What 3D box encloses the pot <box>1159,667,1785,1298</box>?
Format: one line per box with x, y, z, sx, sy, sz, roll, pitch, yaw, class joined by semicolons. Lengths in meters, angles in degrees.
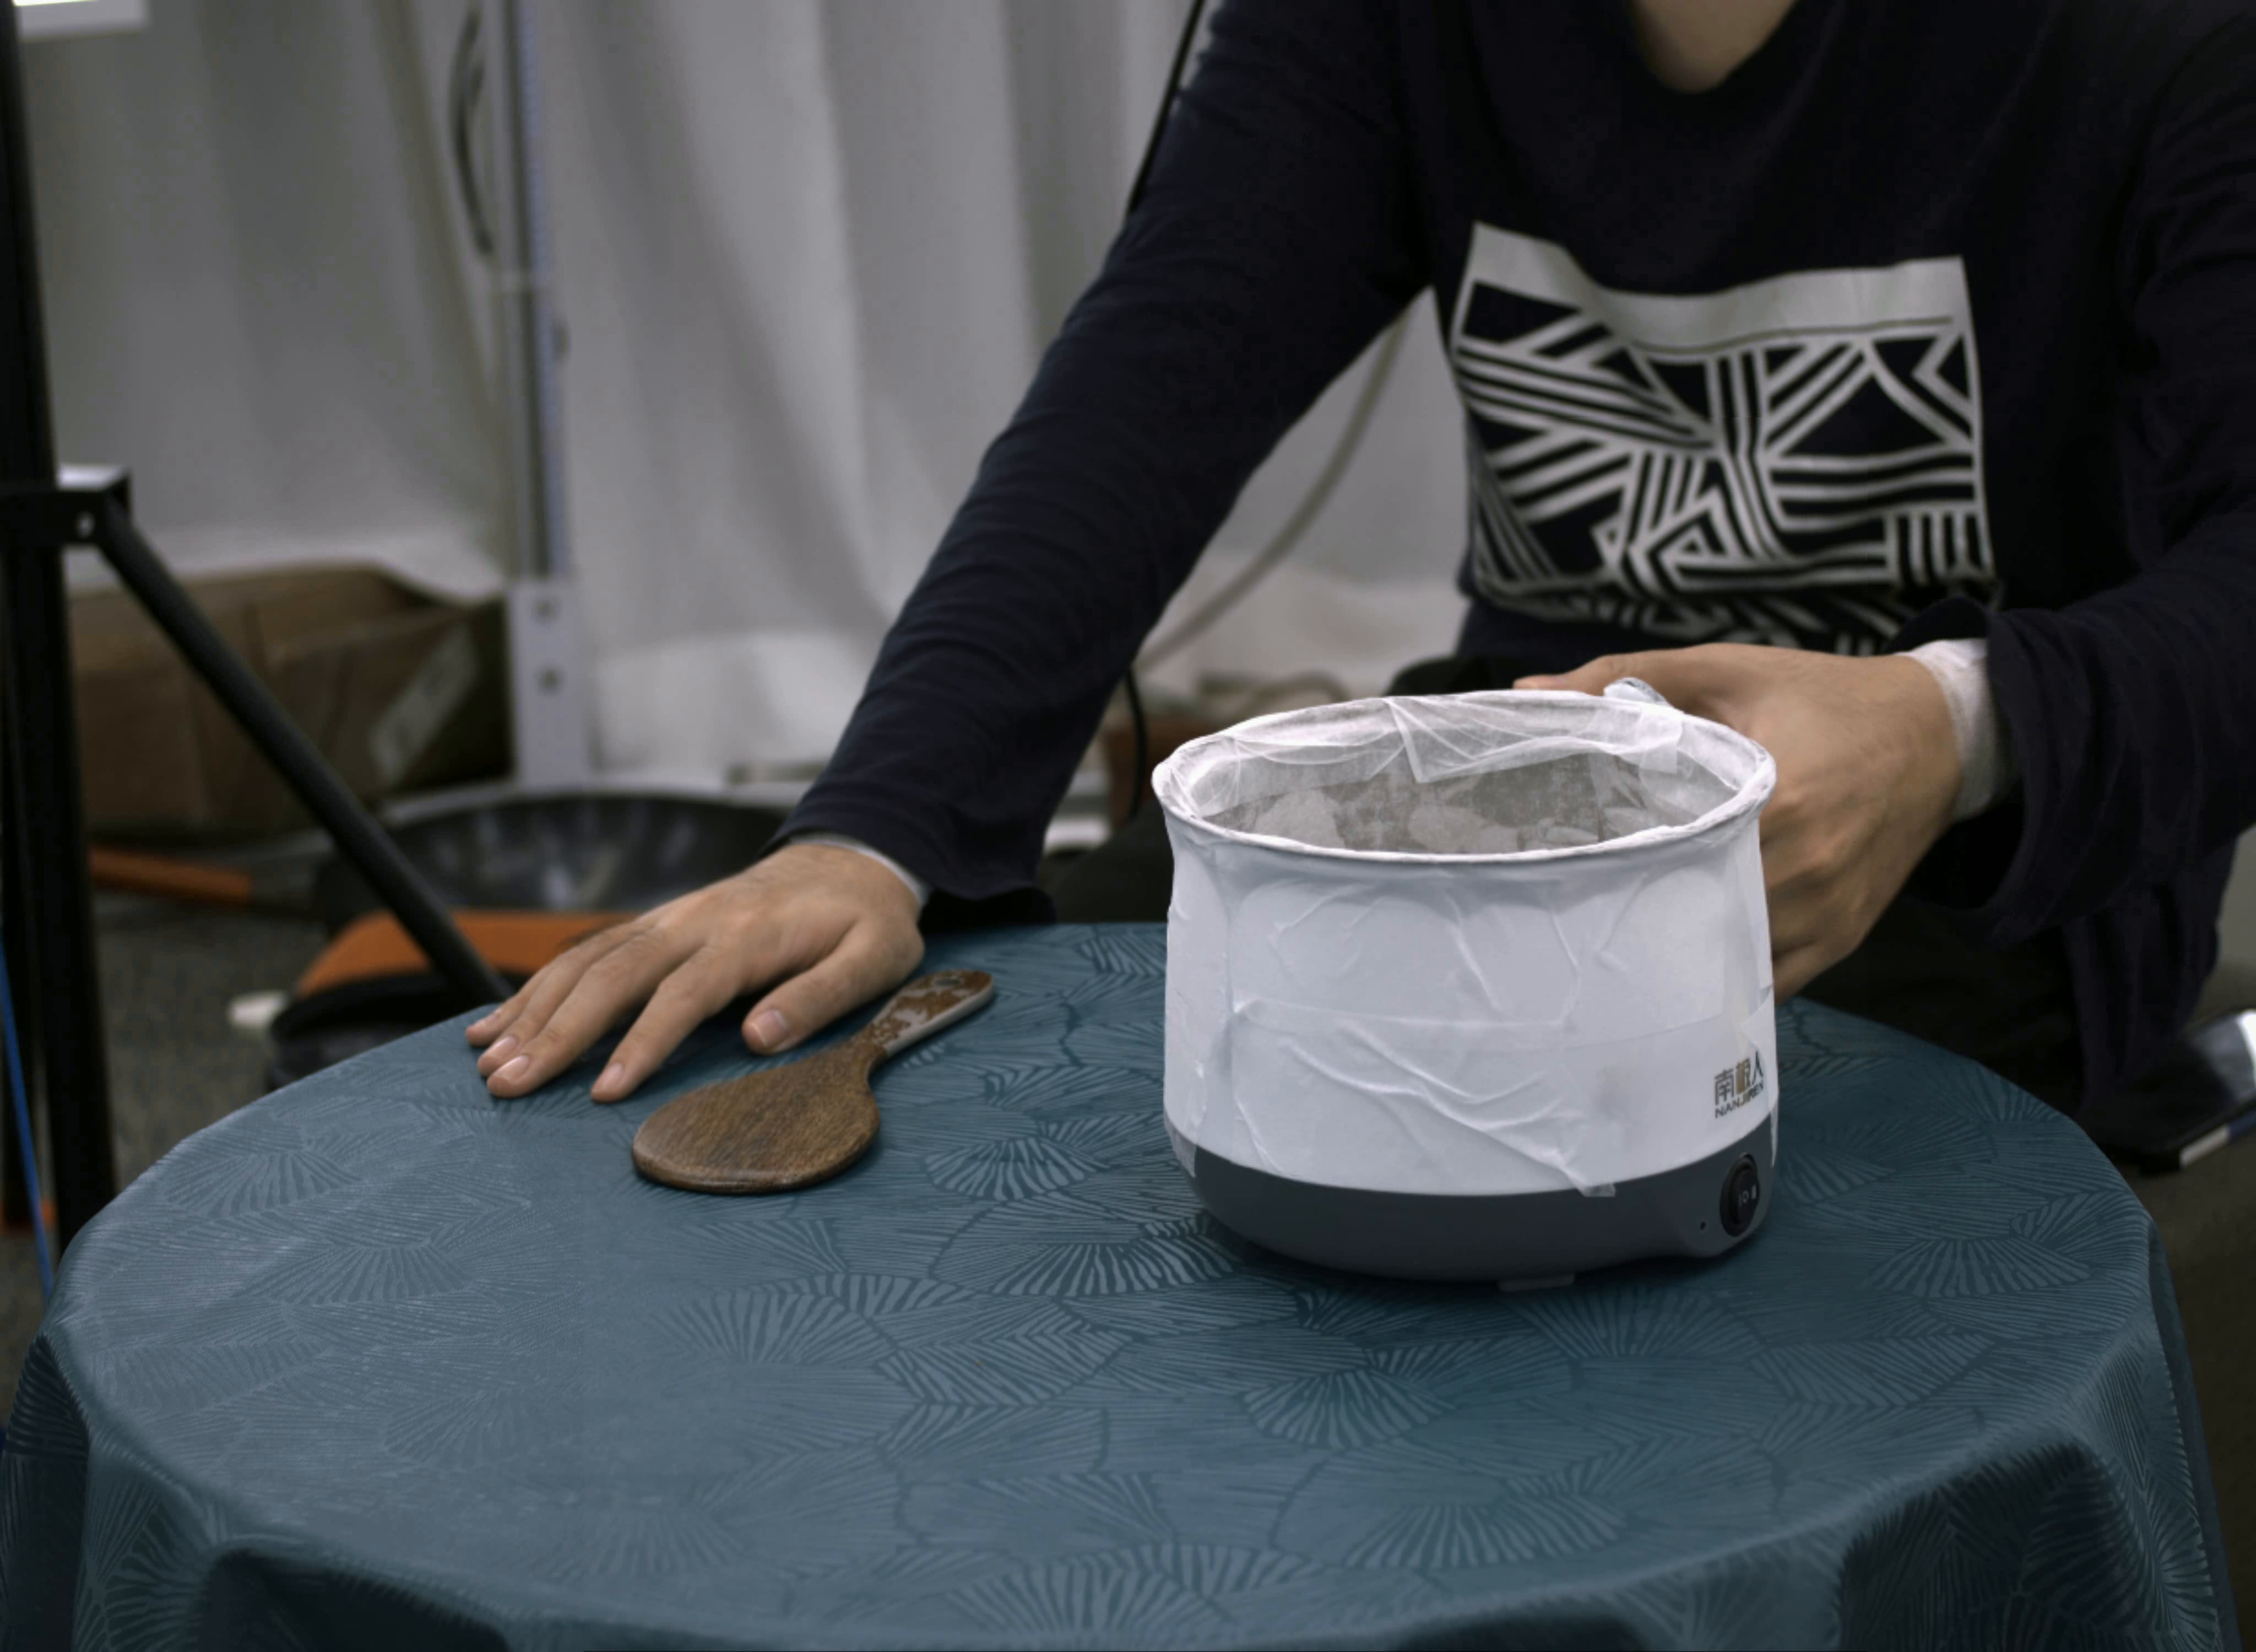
0.111;0.037;1.538;0.182;0.136;0.229;10;21;31;pot

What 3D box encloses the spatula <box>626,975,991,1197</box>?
-0.088;0.079;1.671;0.073;0.009;0.213;5;16;21;spatula
